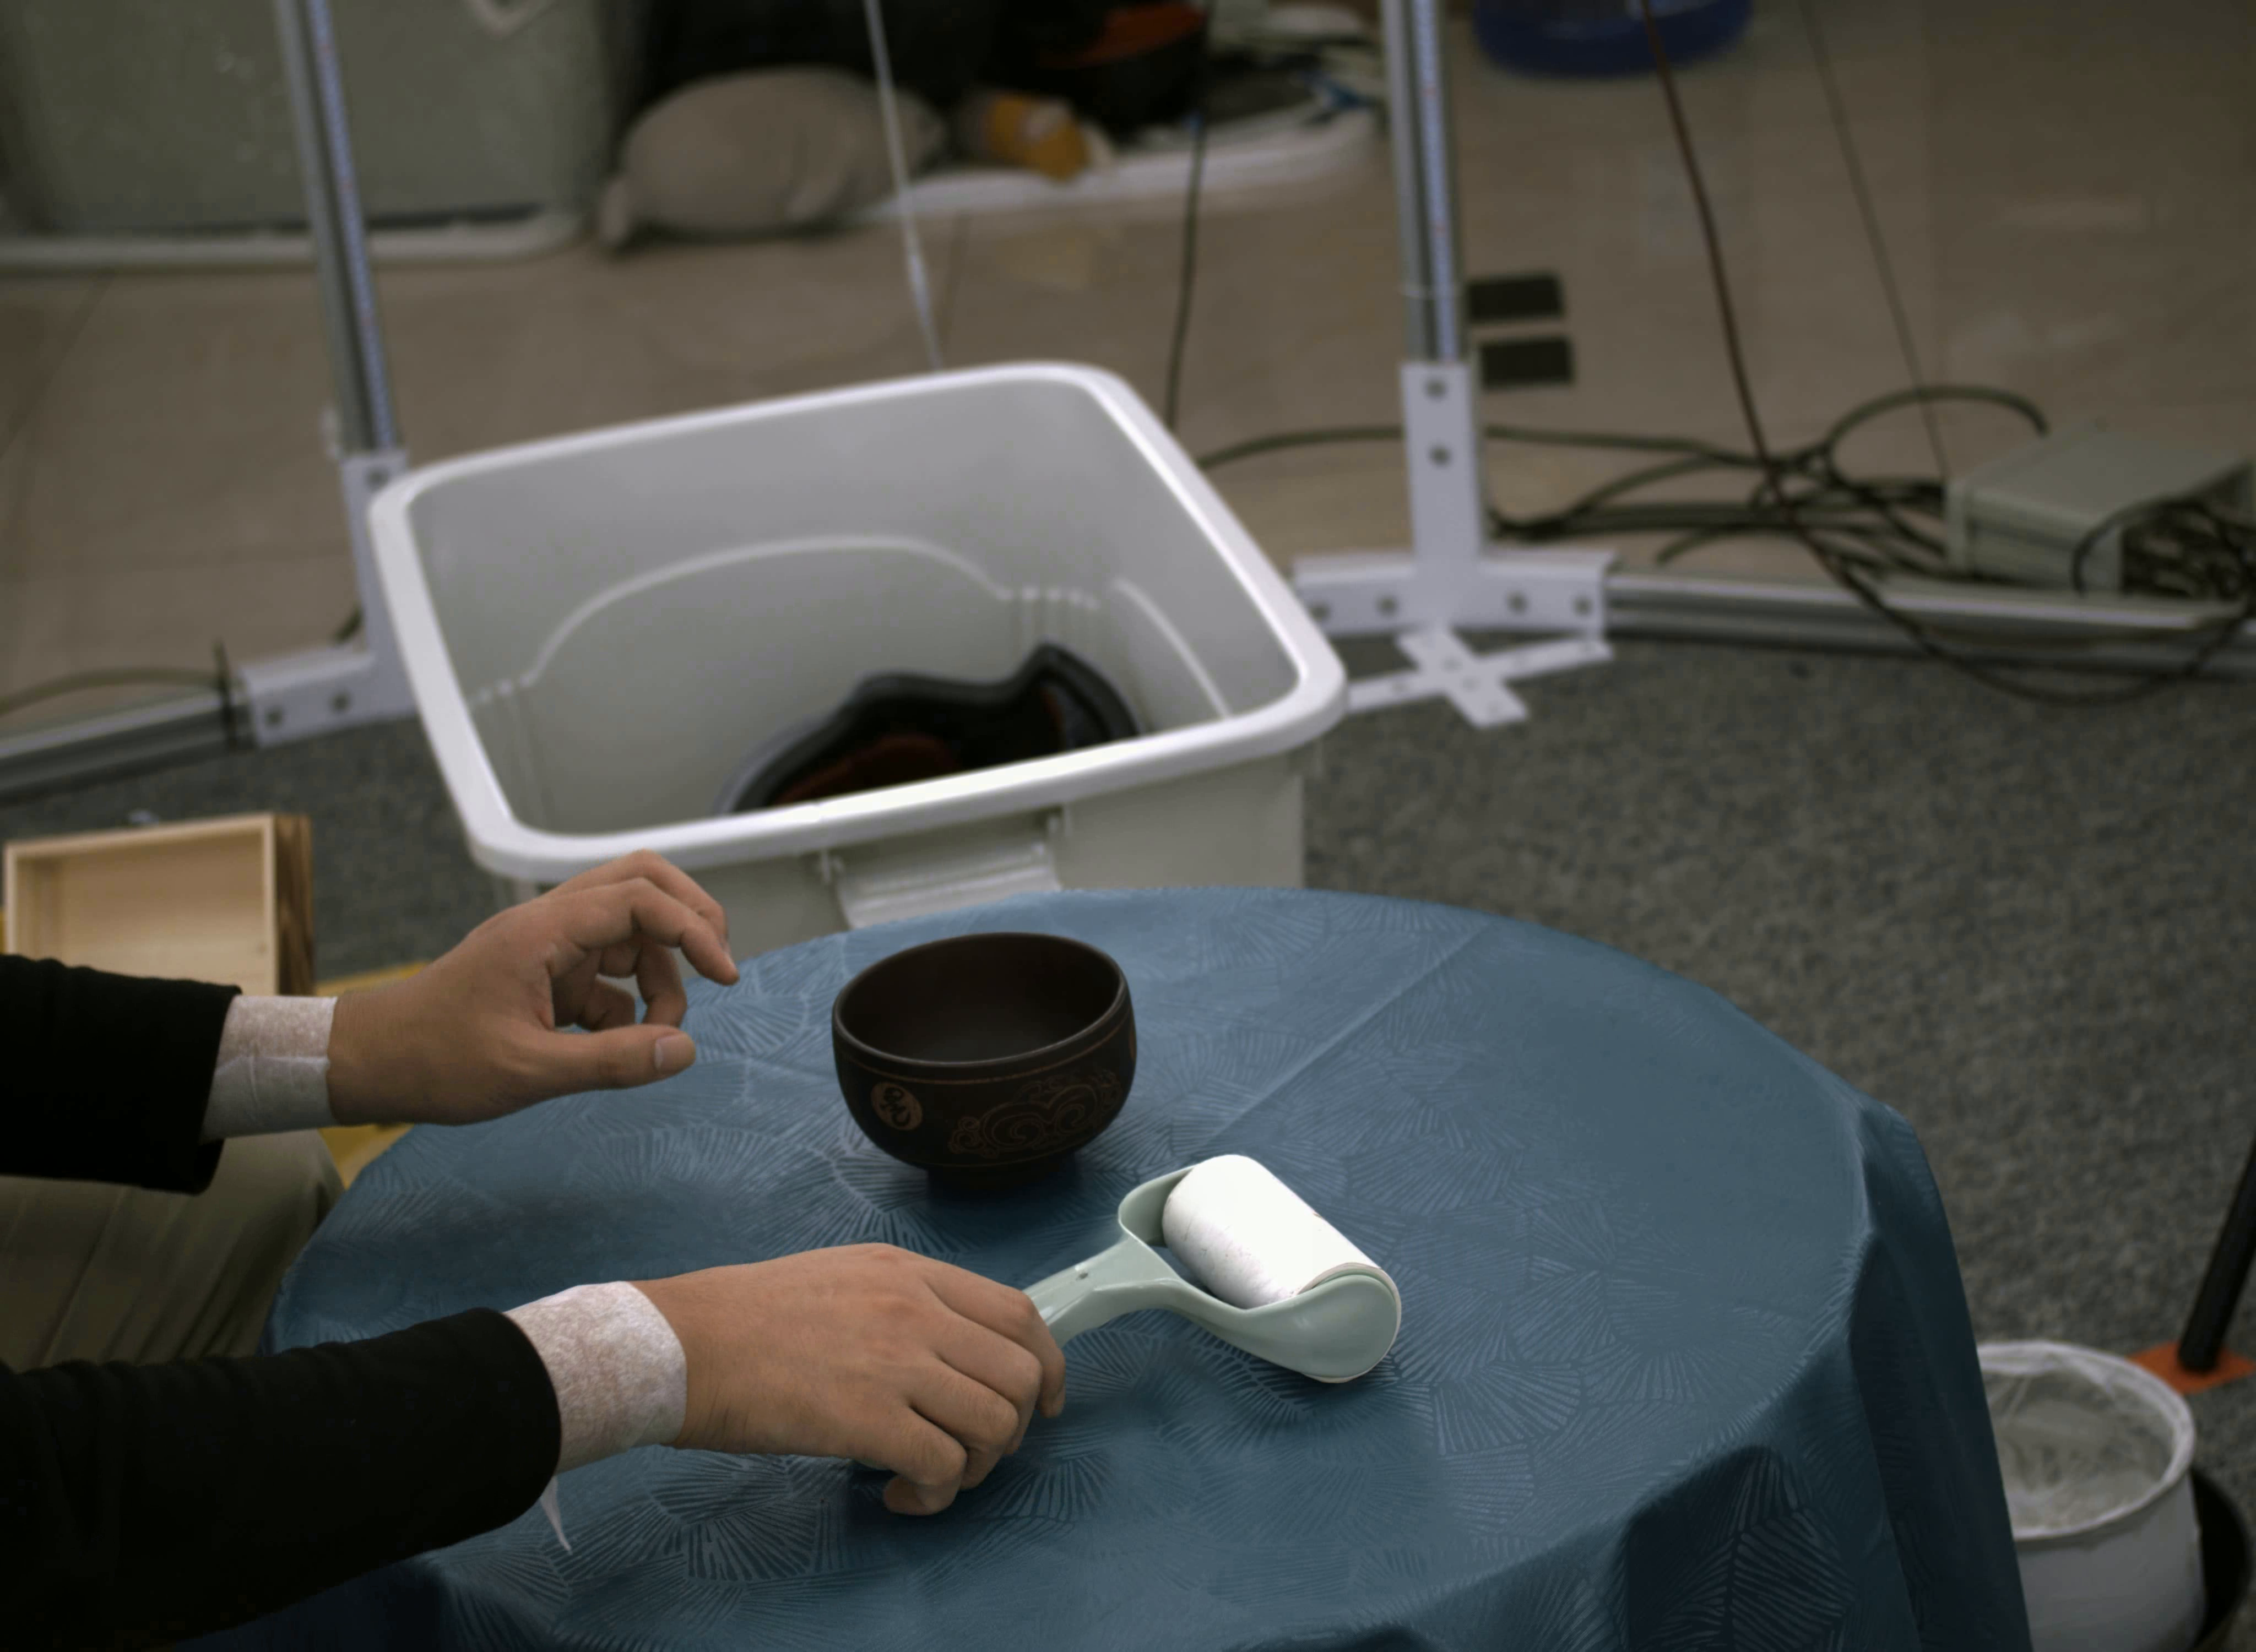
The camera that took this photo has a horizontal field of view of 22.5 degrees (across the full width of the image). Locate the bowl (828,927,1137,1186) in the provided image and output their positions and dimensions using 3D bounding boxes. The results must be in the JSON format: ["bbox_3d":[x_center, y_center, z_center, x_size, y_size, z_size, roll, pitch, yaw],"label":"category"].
[{"bbox_3d":[-0.054,0.094,2.171,0.118,0.071,0.116,-6,26,3],"label":"bowl"}]

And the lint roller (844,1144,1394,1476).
[{"bbox_3d":[-0.014,0.176,2.019,0.196,0.049,0.115,-18,28,-20],"label":"lint roller"}]
